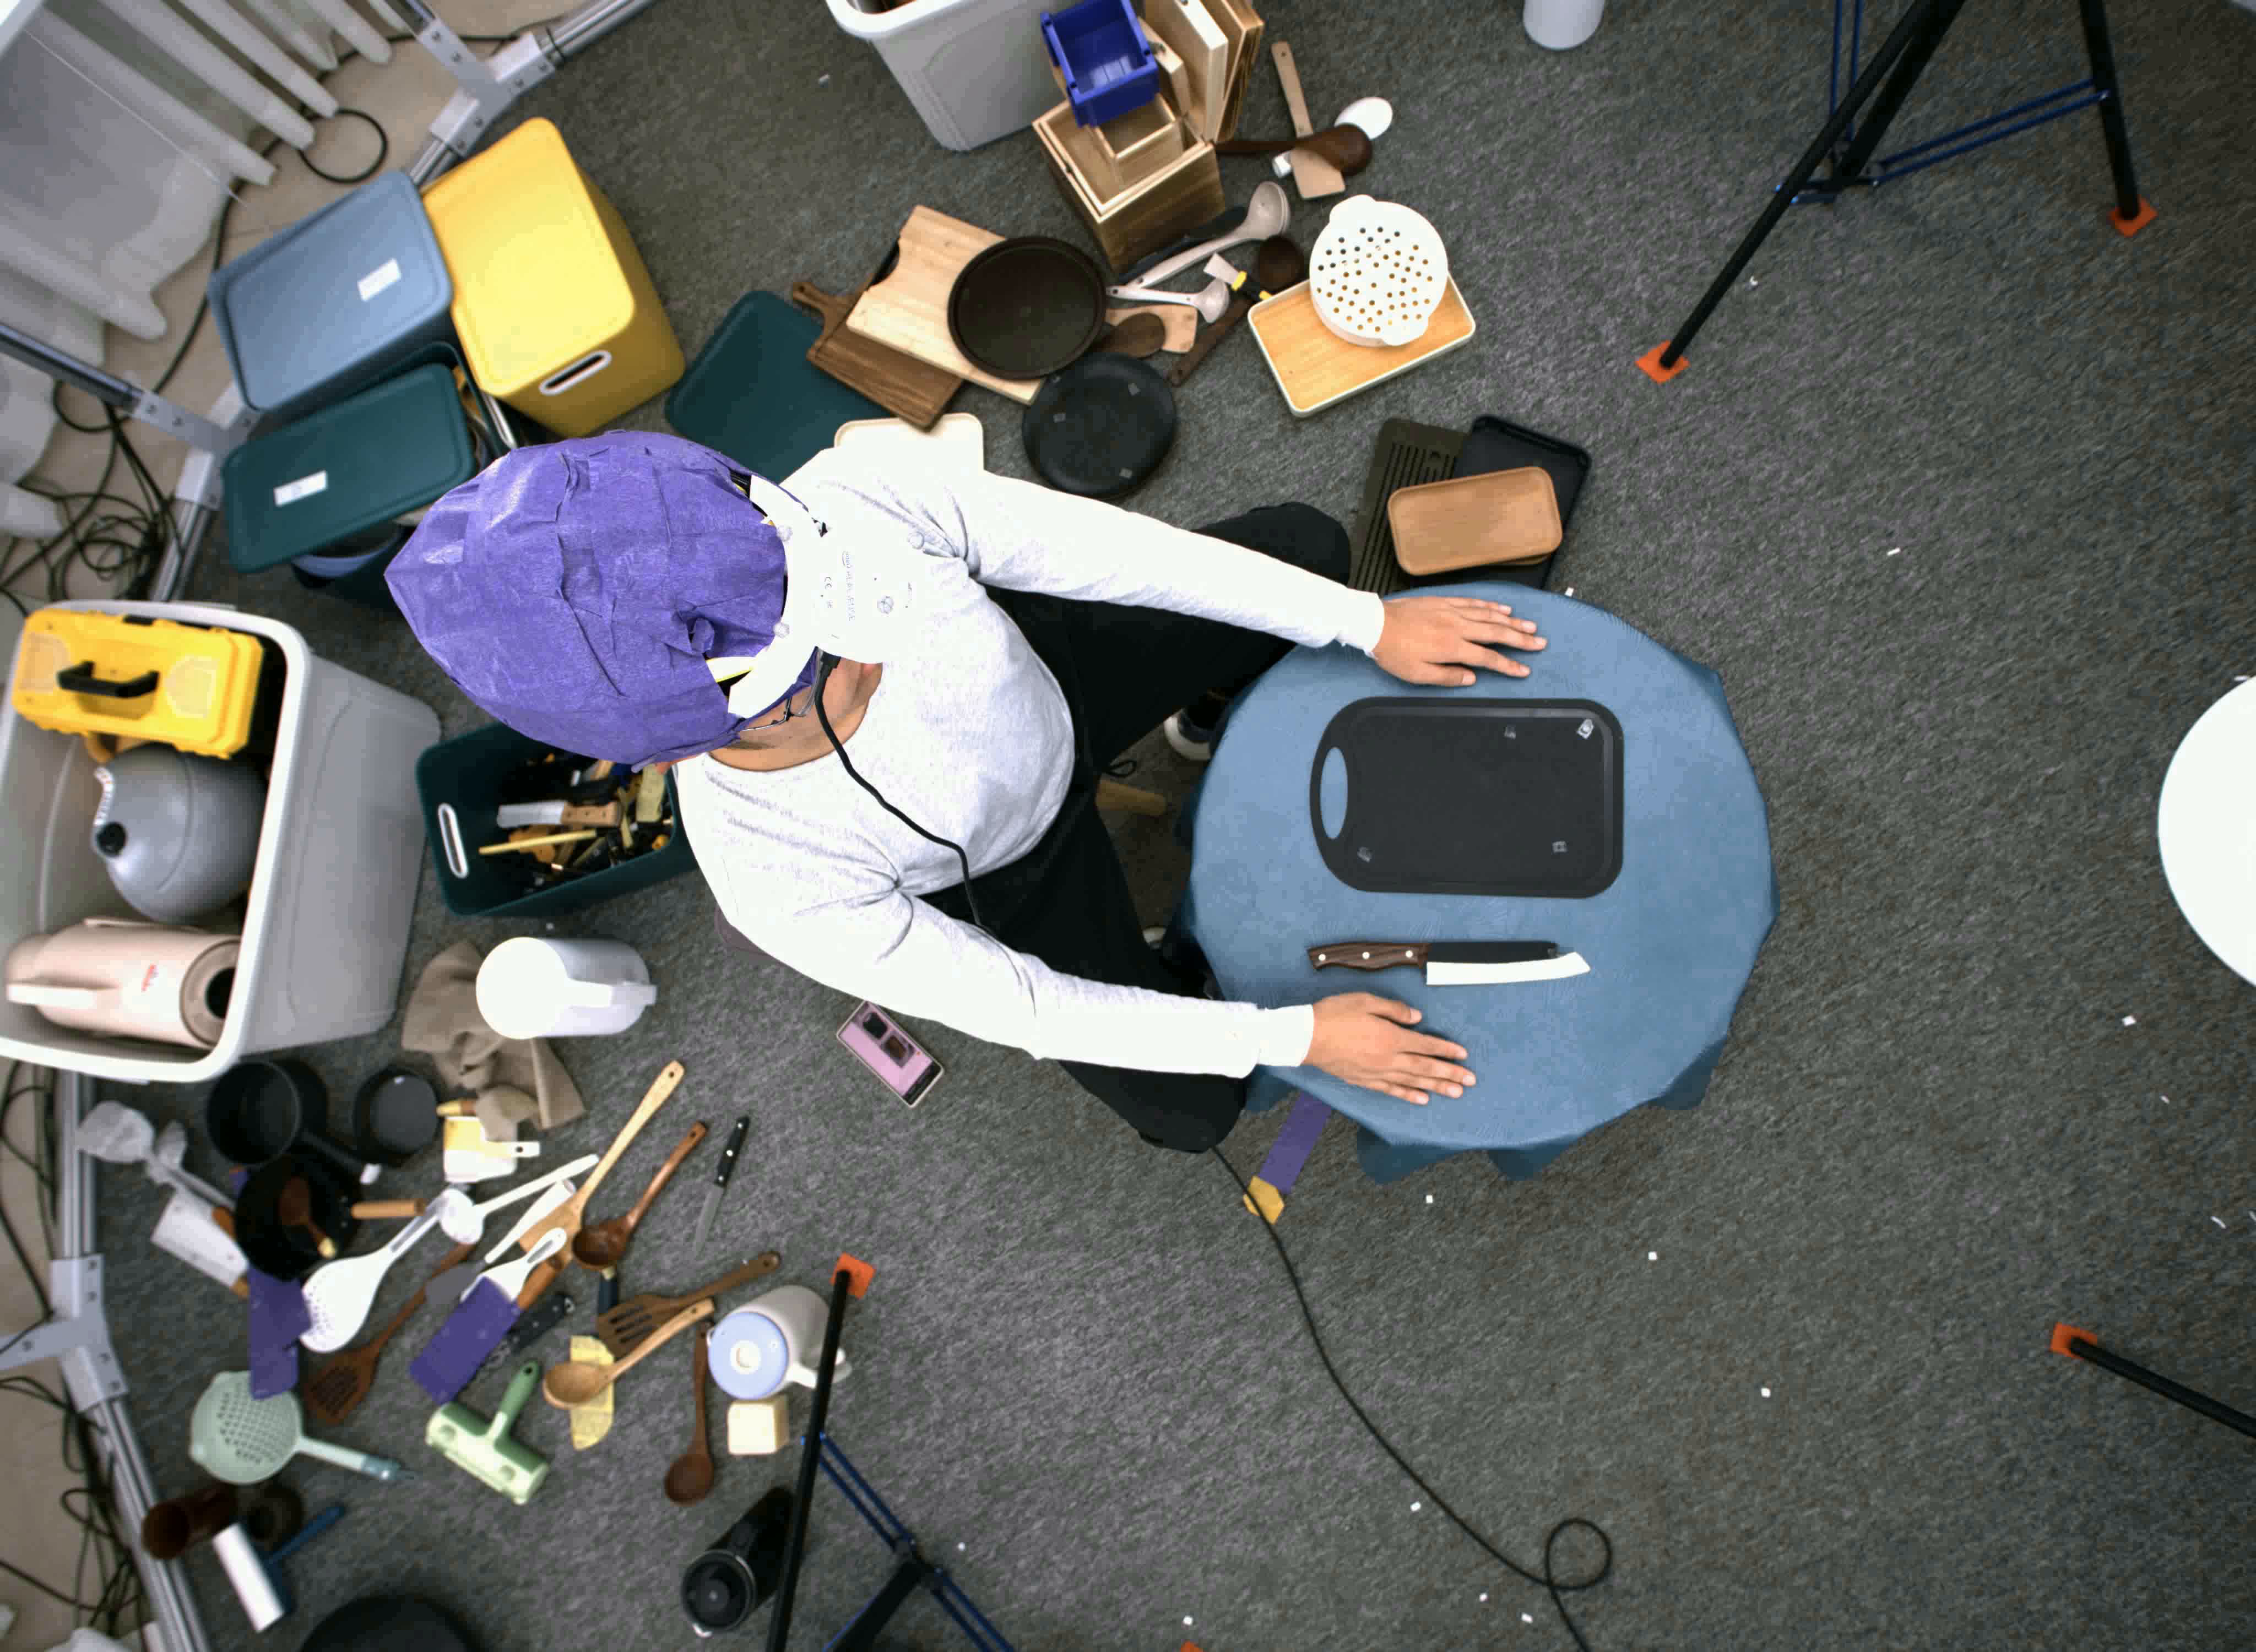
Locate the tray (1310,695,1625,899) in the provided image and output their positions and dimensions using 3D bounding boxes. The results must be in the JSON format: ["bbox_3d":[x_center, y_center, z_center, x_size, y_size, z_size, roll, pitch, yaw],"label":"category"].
[{"bbox_3d":[0.354,-0.035,1.447,0.326,0.010,0.210,2,87,11],"label":"tray"}]

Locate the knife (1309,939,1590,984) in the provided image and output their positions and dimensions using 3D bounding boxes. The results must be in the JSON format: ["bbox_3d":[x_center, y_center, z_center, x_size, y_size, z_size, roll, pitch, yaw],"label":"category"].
[{"bbox_3d":[0.333,0.138,1.437,0.290,0.020,0.050,1,92,8],"label":"knife"}]
